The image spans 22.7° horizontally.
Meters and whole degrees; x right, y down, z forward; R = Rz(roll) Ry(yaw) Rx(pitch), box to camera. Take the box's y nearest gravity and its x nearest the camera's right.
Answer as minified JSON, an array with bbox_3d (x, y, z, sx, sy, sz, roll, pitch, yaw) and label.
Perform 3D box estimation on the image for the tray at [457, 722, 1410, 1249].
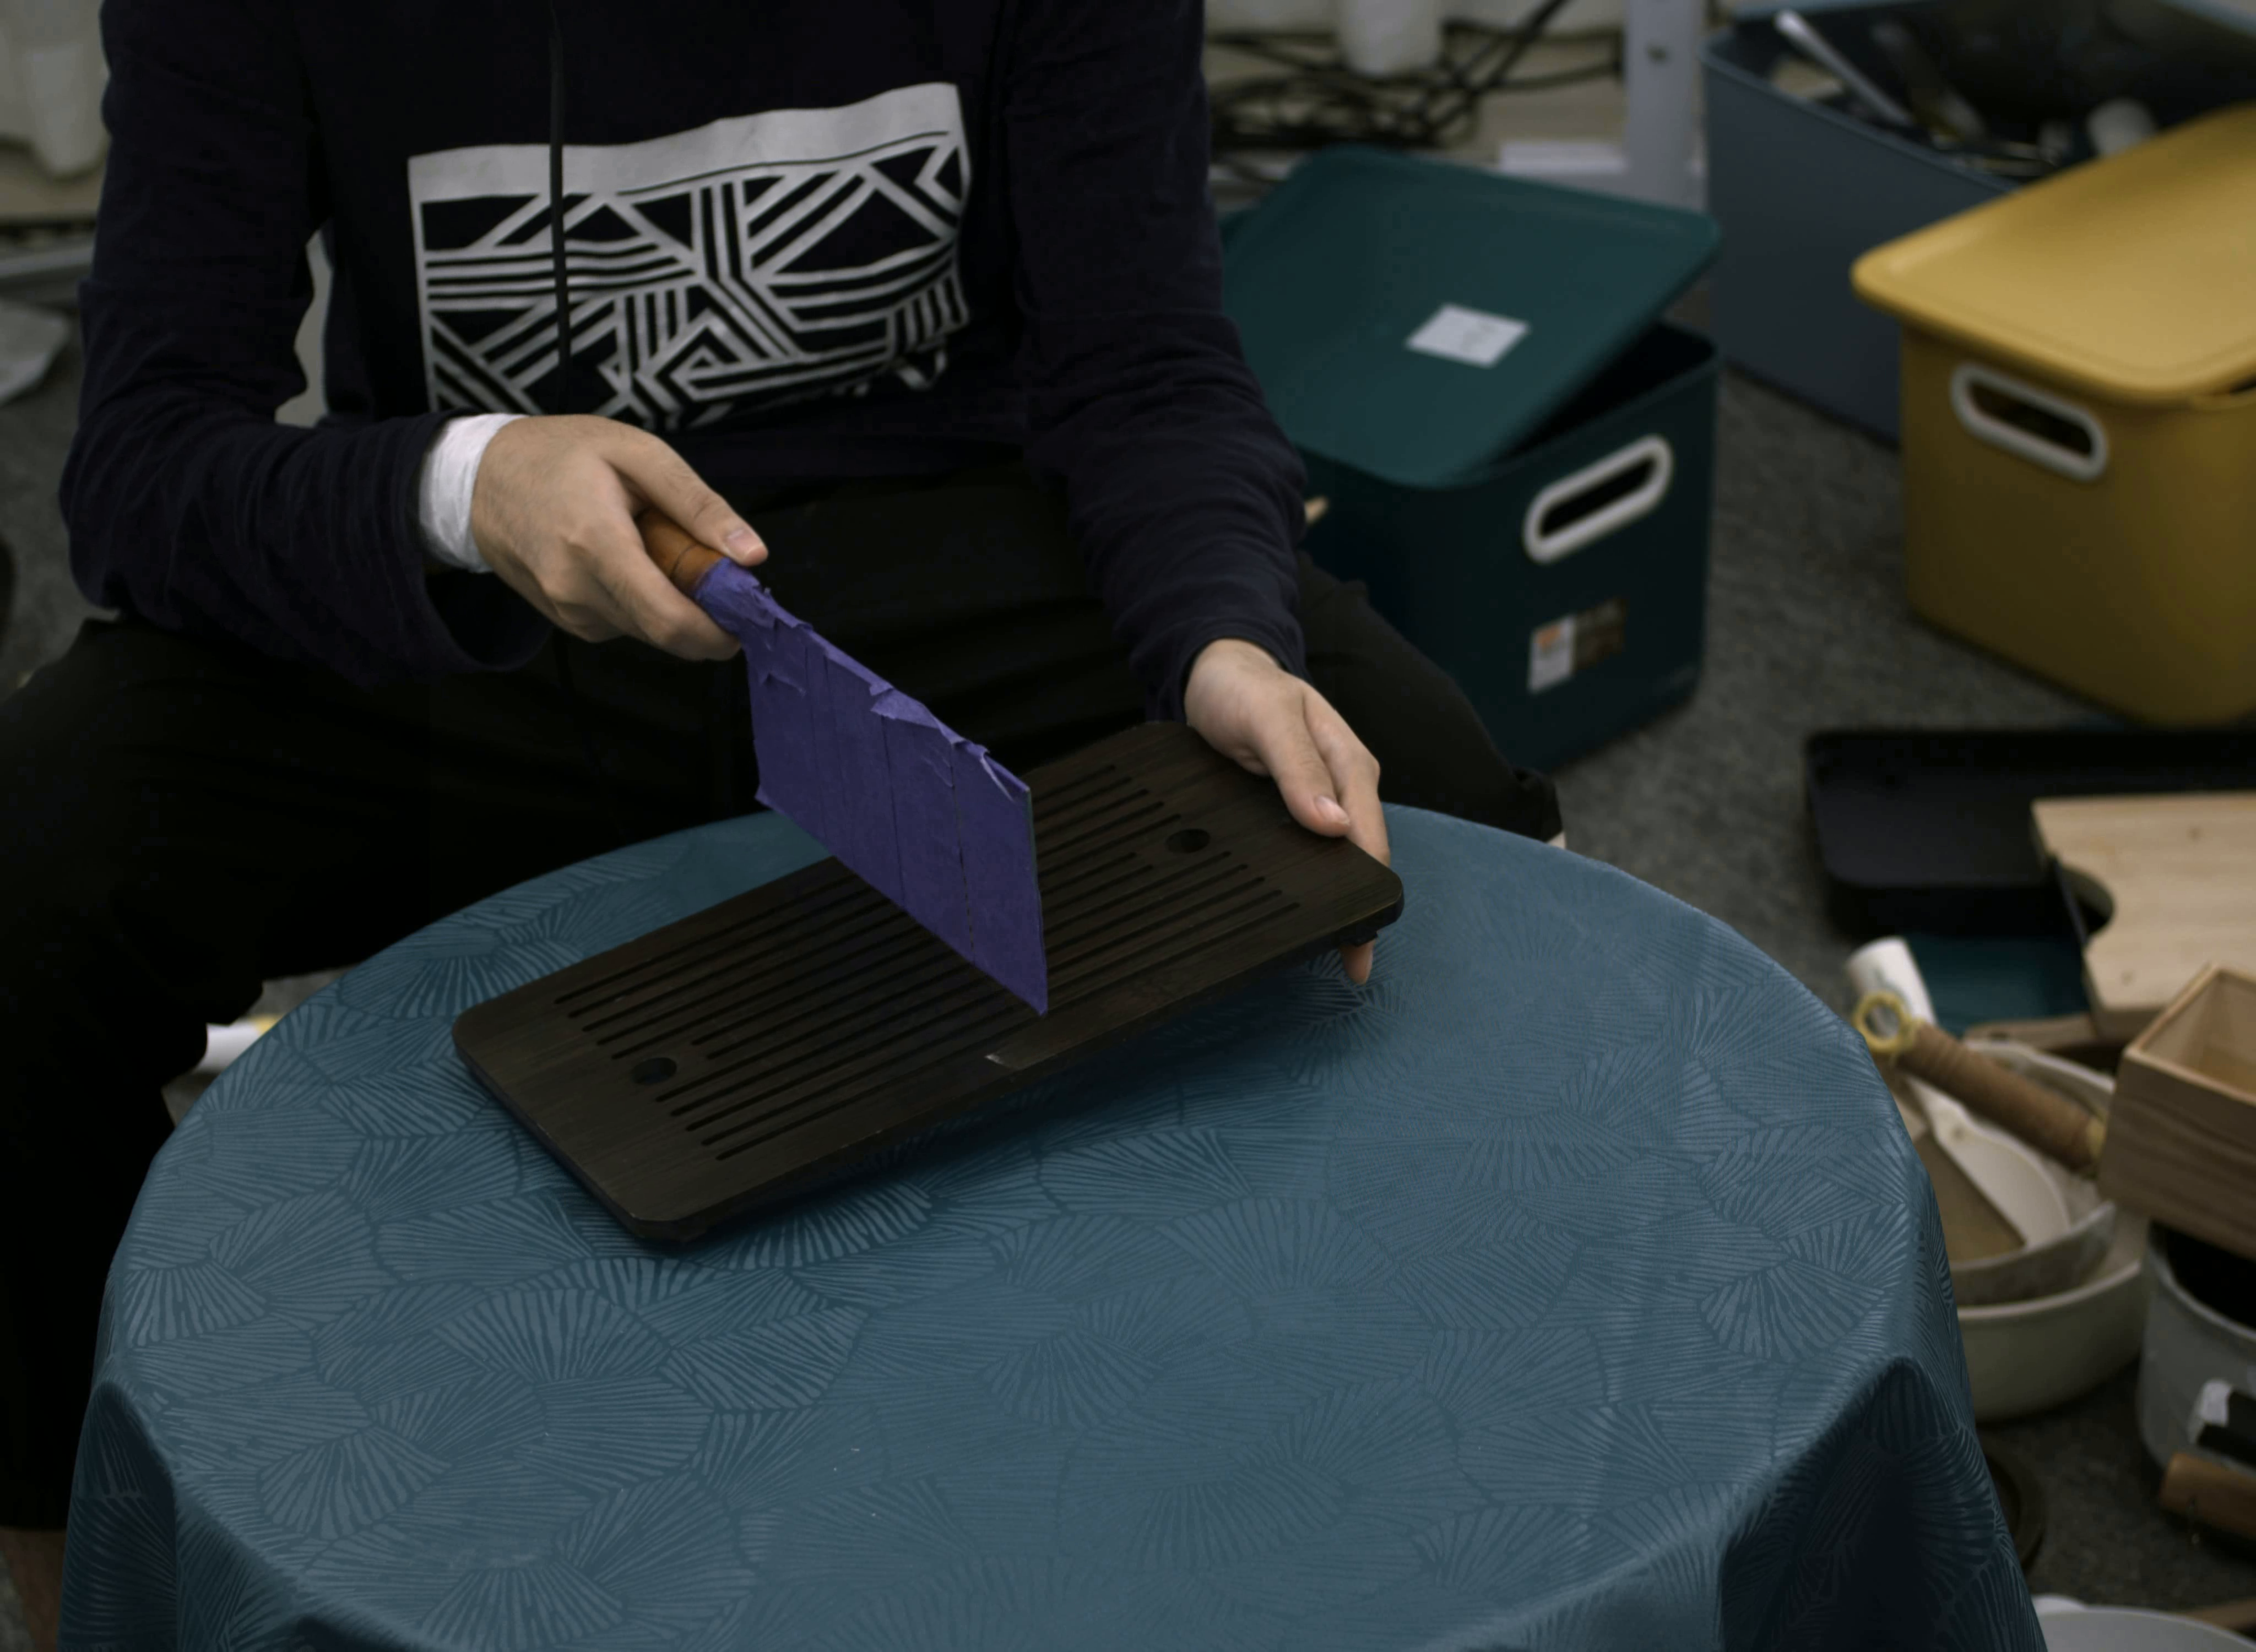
[{"bbox_3d":[-0.067,0.053,1.950,0.308,0.018,0.171,-23,33,-23],"label":"tray"}]

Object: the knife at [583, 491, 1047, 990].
[{"bbox_3d":[-0.114,-0.030,1.995,0.032,0.103,0.316,-15,28,-25],"label":"knife"}]
